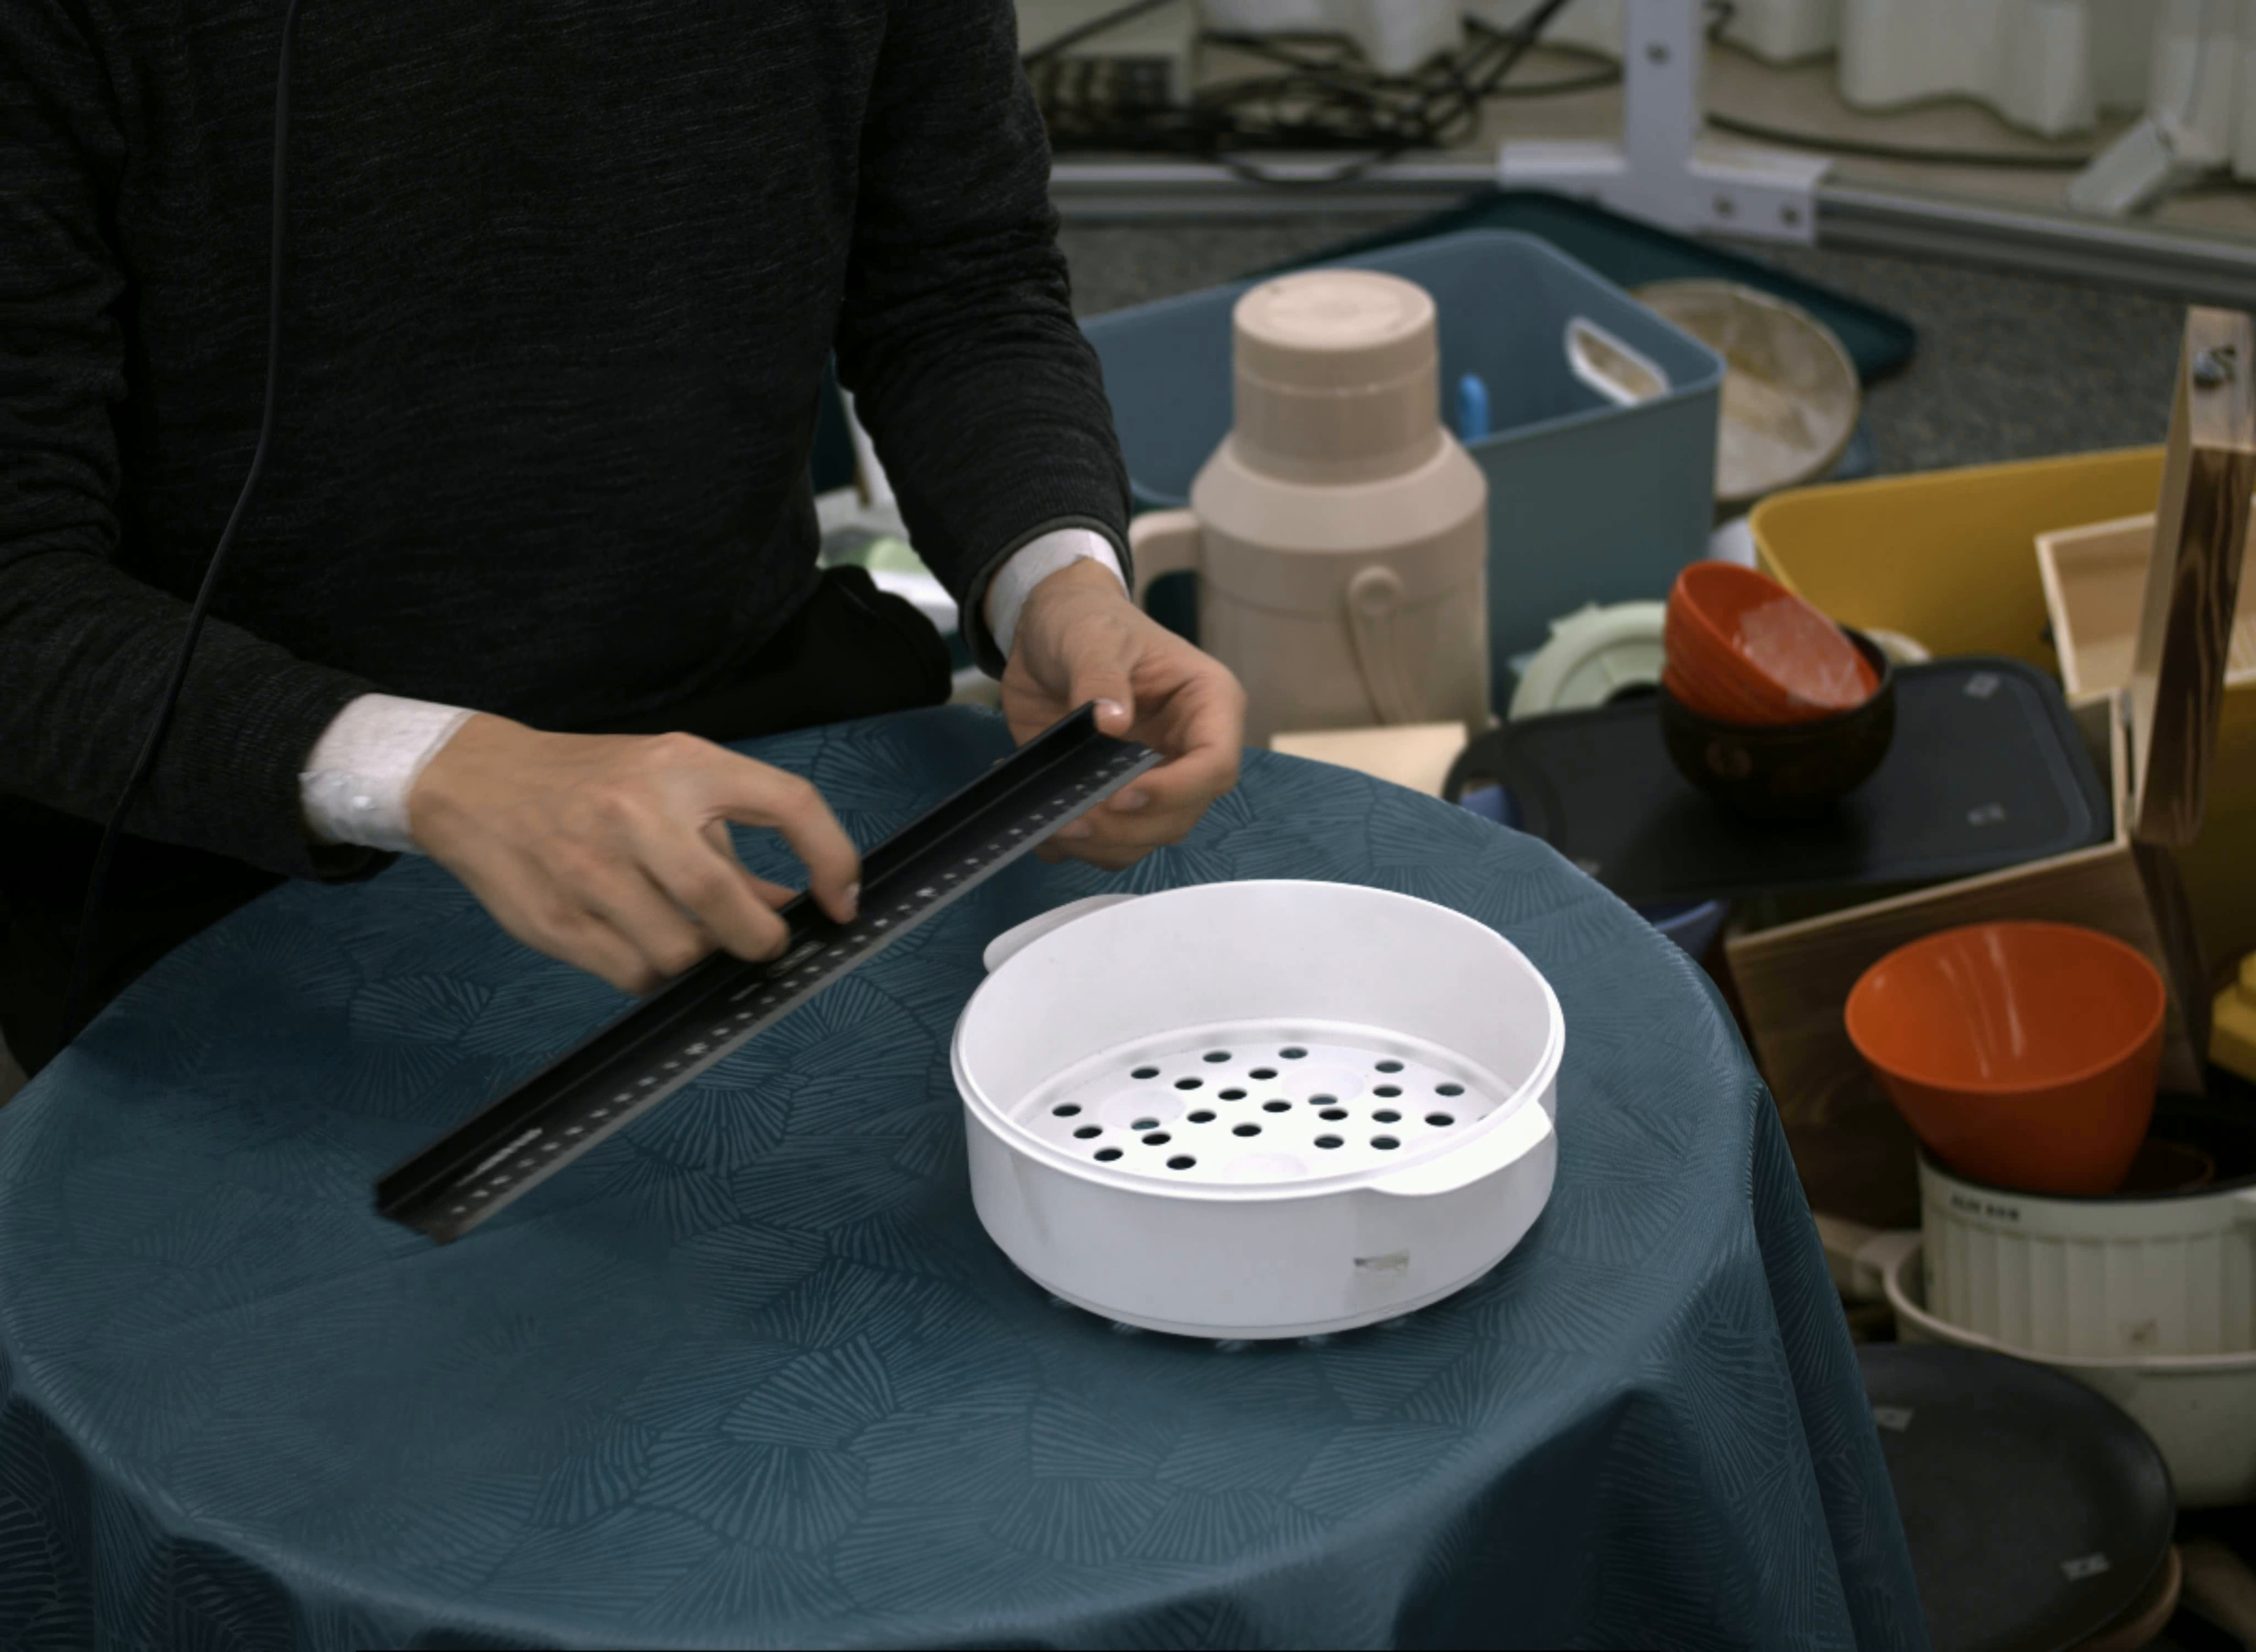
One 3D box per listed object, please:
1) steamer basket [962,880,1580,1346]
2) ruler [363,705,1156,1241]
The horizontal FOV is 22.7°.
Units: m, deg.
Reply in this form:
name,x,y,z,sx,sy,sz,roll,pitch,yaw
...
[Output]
name,x,y,z,sx,sy,sz,roll,pitch,yaw
steamer basket,0.047,0.094,1.835,0.204,0.068,0.231,-23,35,-34
ruler,-0.114,0.043,1.793,0.316,0.017,0.039,-34,36,-31
